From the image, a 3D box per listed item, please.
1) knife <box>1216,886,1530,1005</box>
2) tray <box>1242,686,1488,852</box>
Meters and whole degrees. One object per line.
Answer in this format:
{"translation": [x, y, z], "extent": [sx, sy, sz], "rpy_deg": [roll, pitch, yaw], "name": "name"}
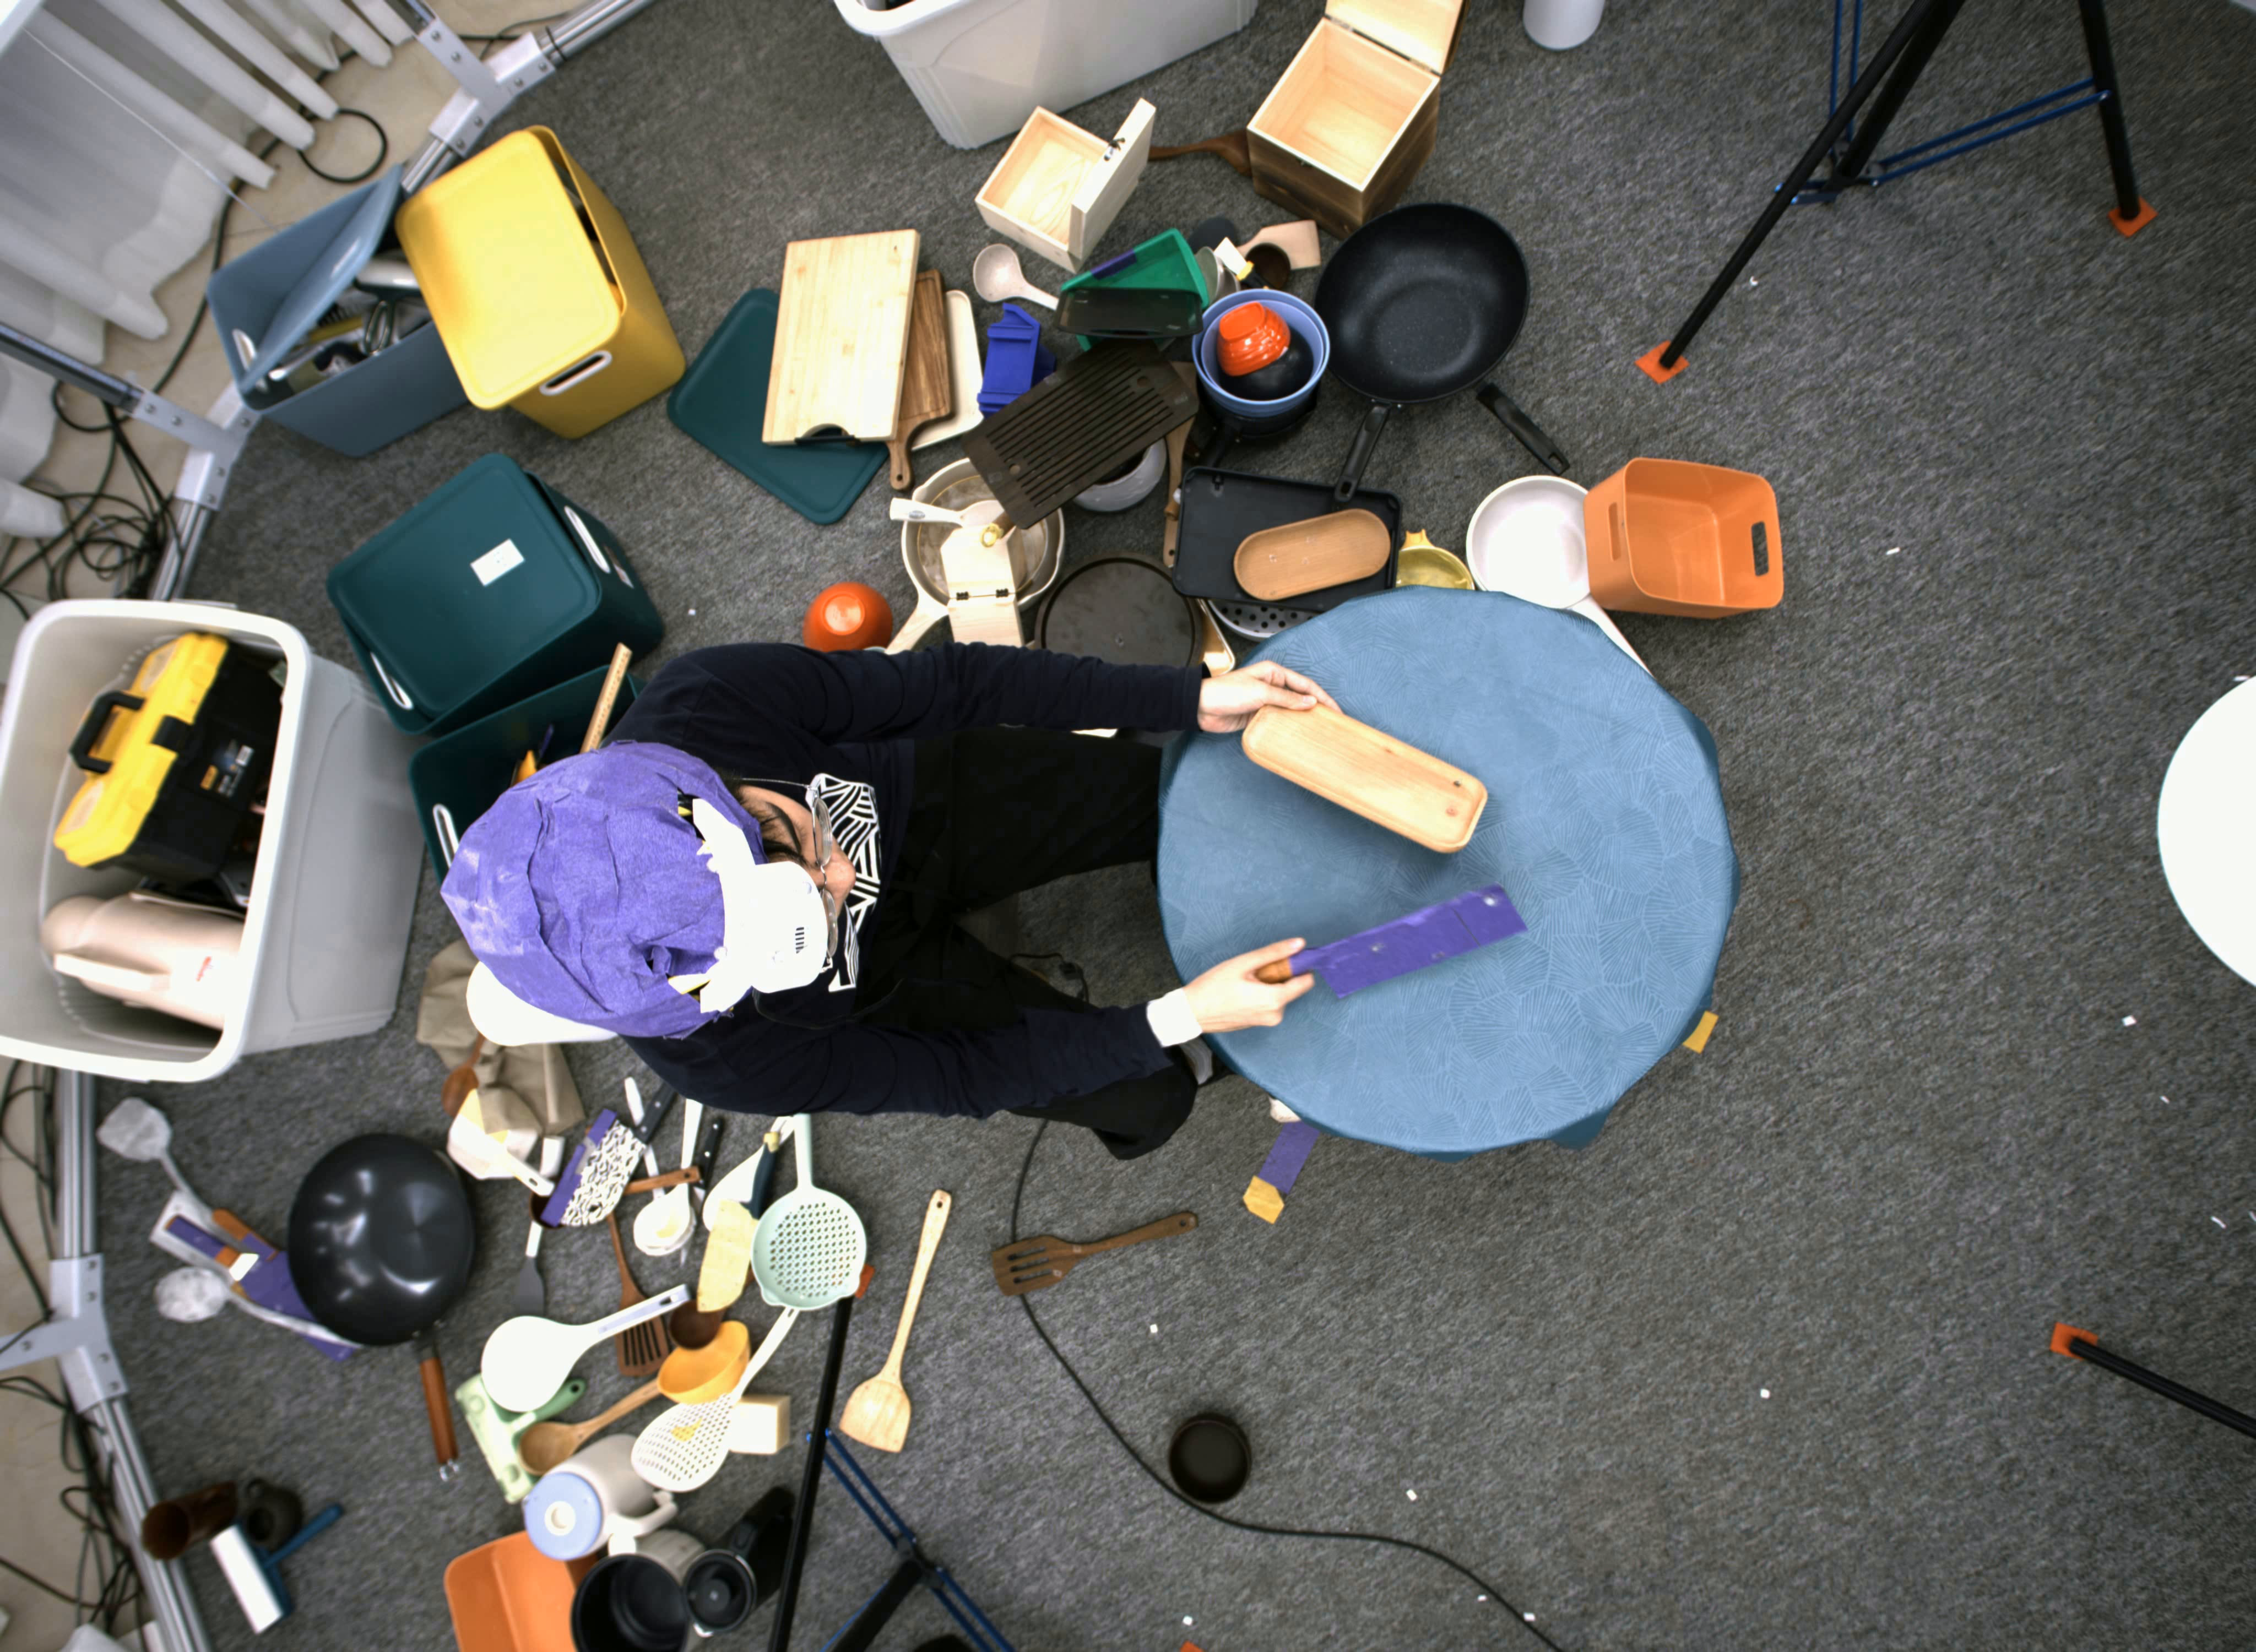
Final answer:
{"translation": [0.248, 0.138, 1.402], "extent": [0.319, 0.105, 0.031], "rpy_deg": [-20, 45, 21], "name": "knife"}
{"translation": [0.243, -0.061, 1.411], "extent": [0.250, 0.127, 0.023], "rpy_deg": [27, 134, 11], "name": "tray"}
